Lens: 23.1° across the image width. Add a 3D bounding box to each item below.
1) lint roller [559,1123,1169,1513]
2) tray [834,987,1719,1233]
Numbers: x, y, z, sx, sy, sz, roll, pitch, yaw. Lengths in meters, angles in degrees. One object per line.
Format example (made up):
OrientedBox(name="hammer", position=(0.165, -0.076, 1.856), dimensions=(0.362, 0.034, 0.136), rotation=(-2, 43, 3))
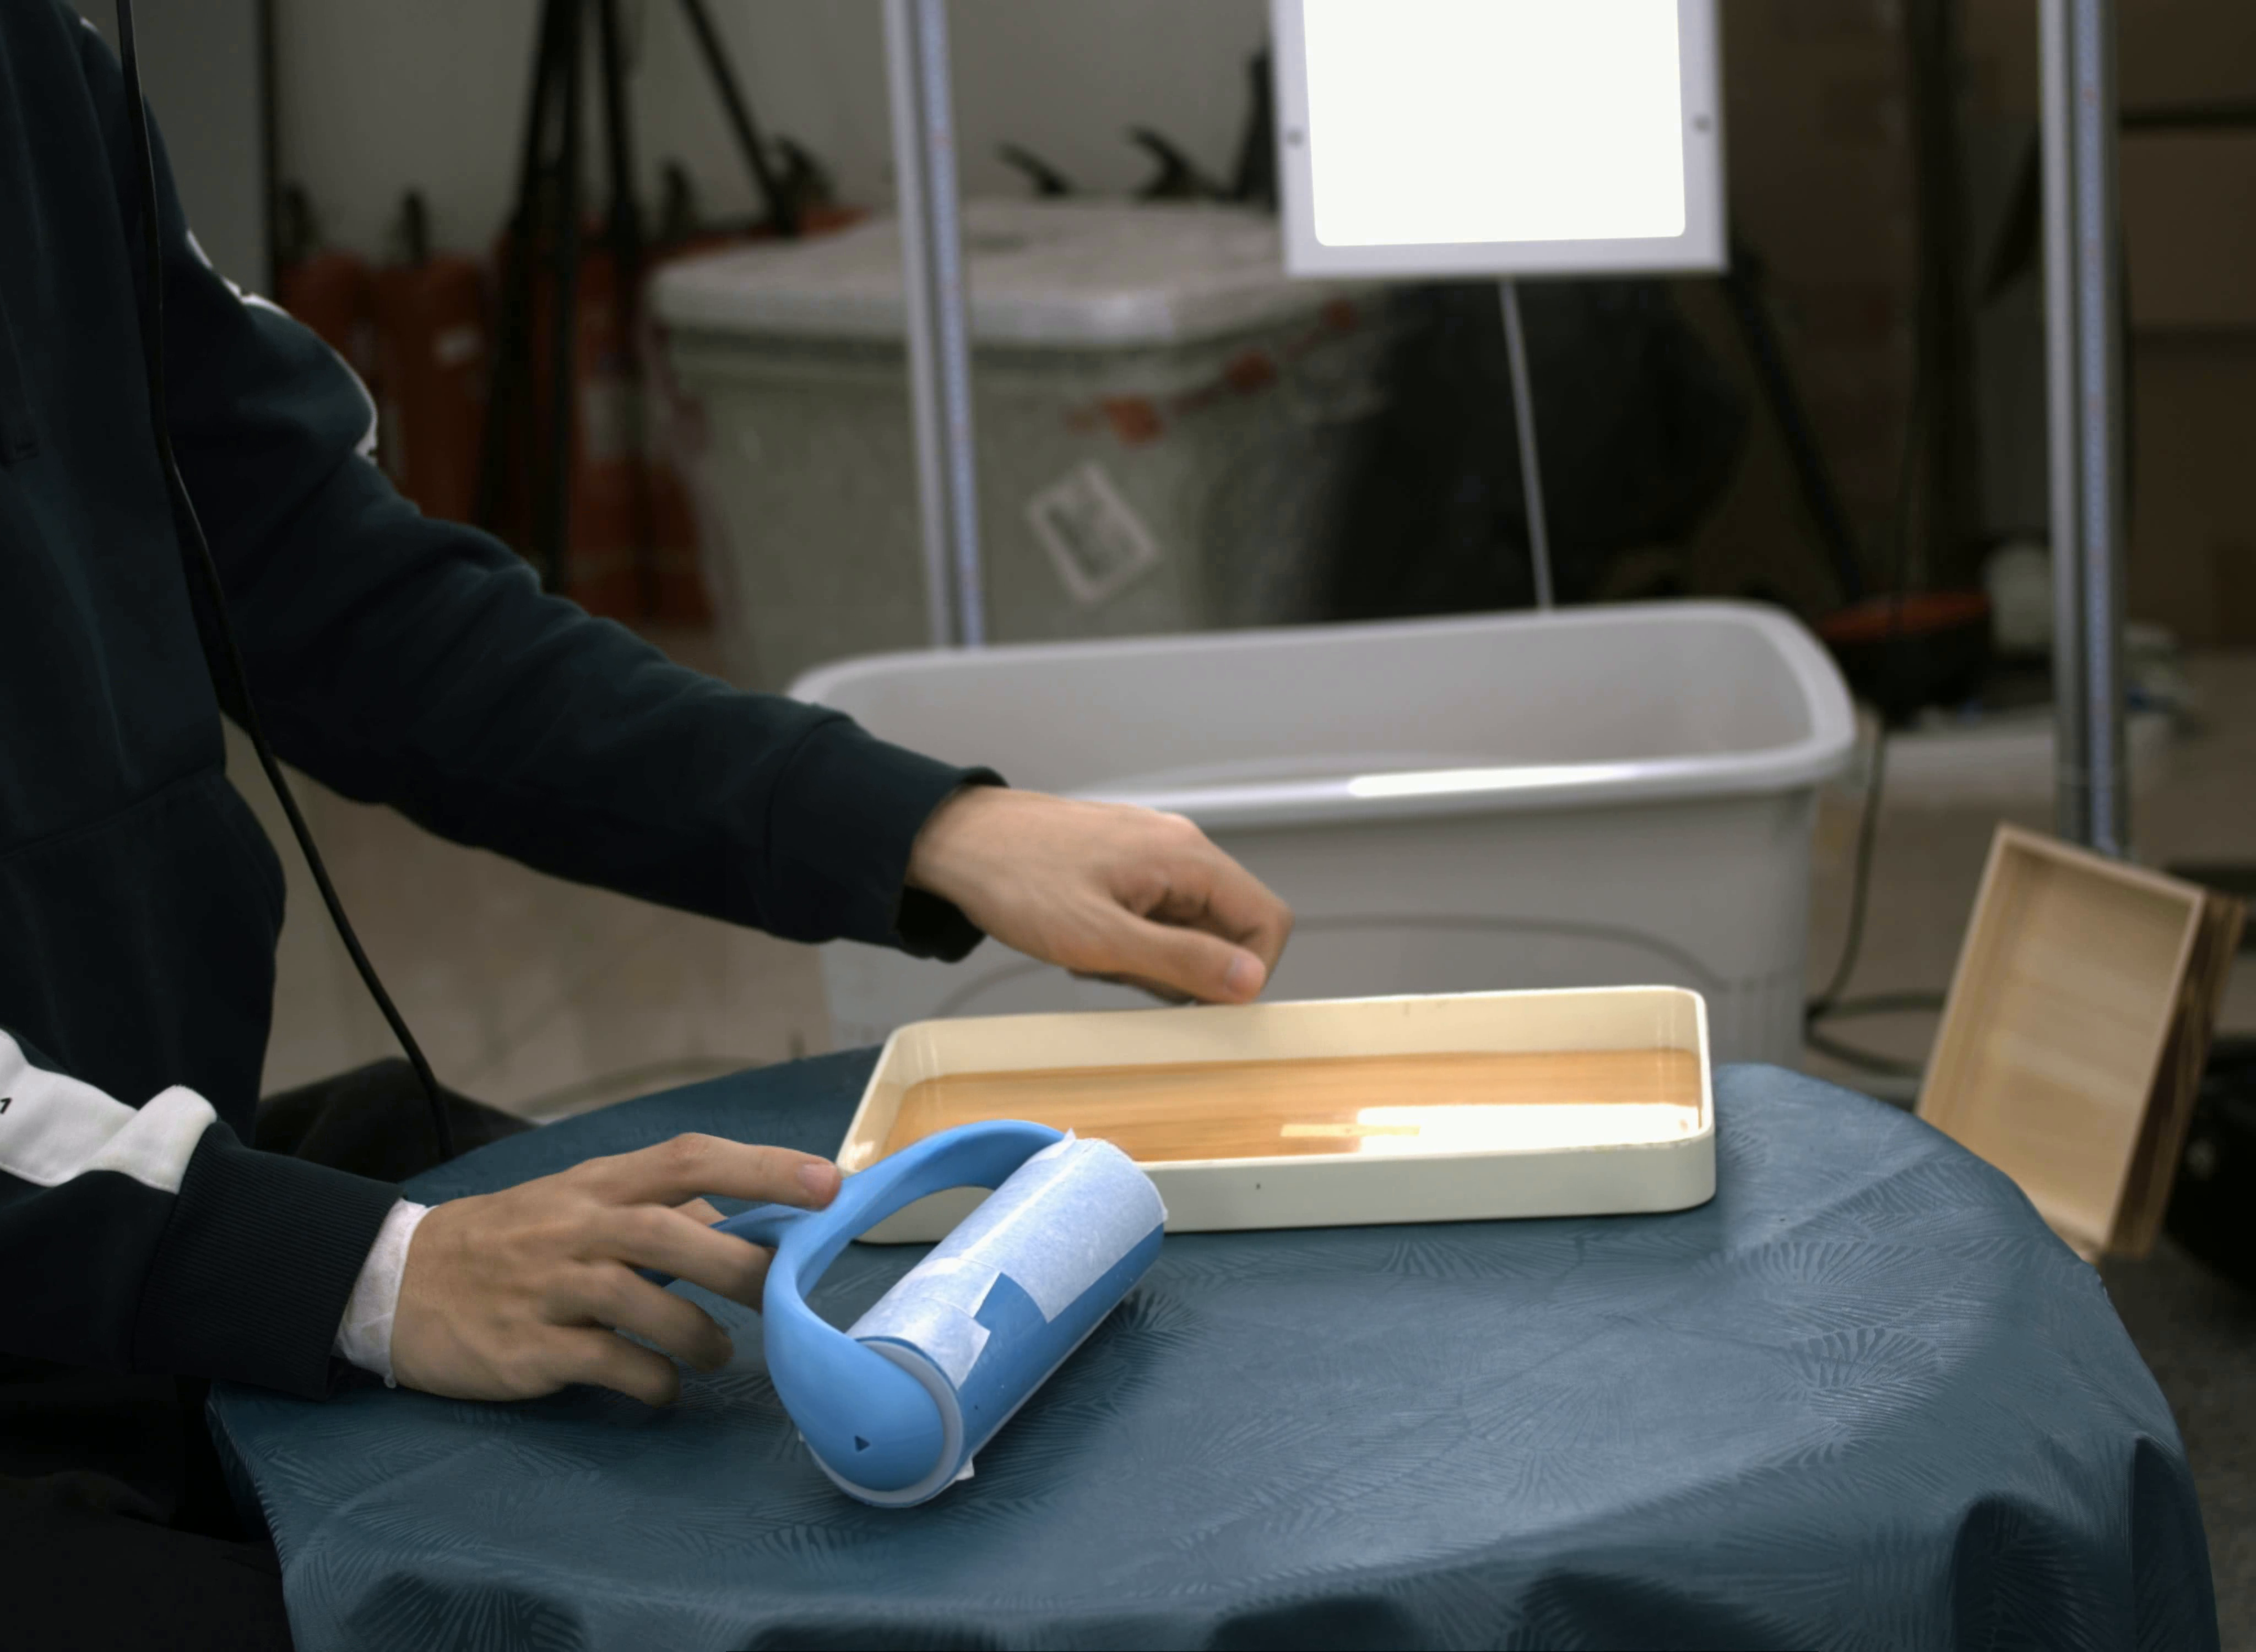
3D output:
OrientedBox(name="lint roller", position=(-0.095, 0.151, 1.716), dimensions=(0.182, 0.068, 0.226), rotation=(0, 16, 15))
OrientedBox(name="tray", position=(0.056, 0.101, 1.925), dimensions=(0.301, 0.027, 0.190), rotation=(-3, 14, 8))
